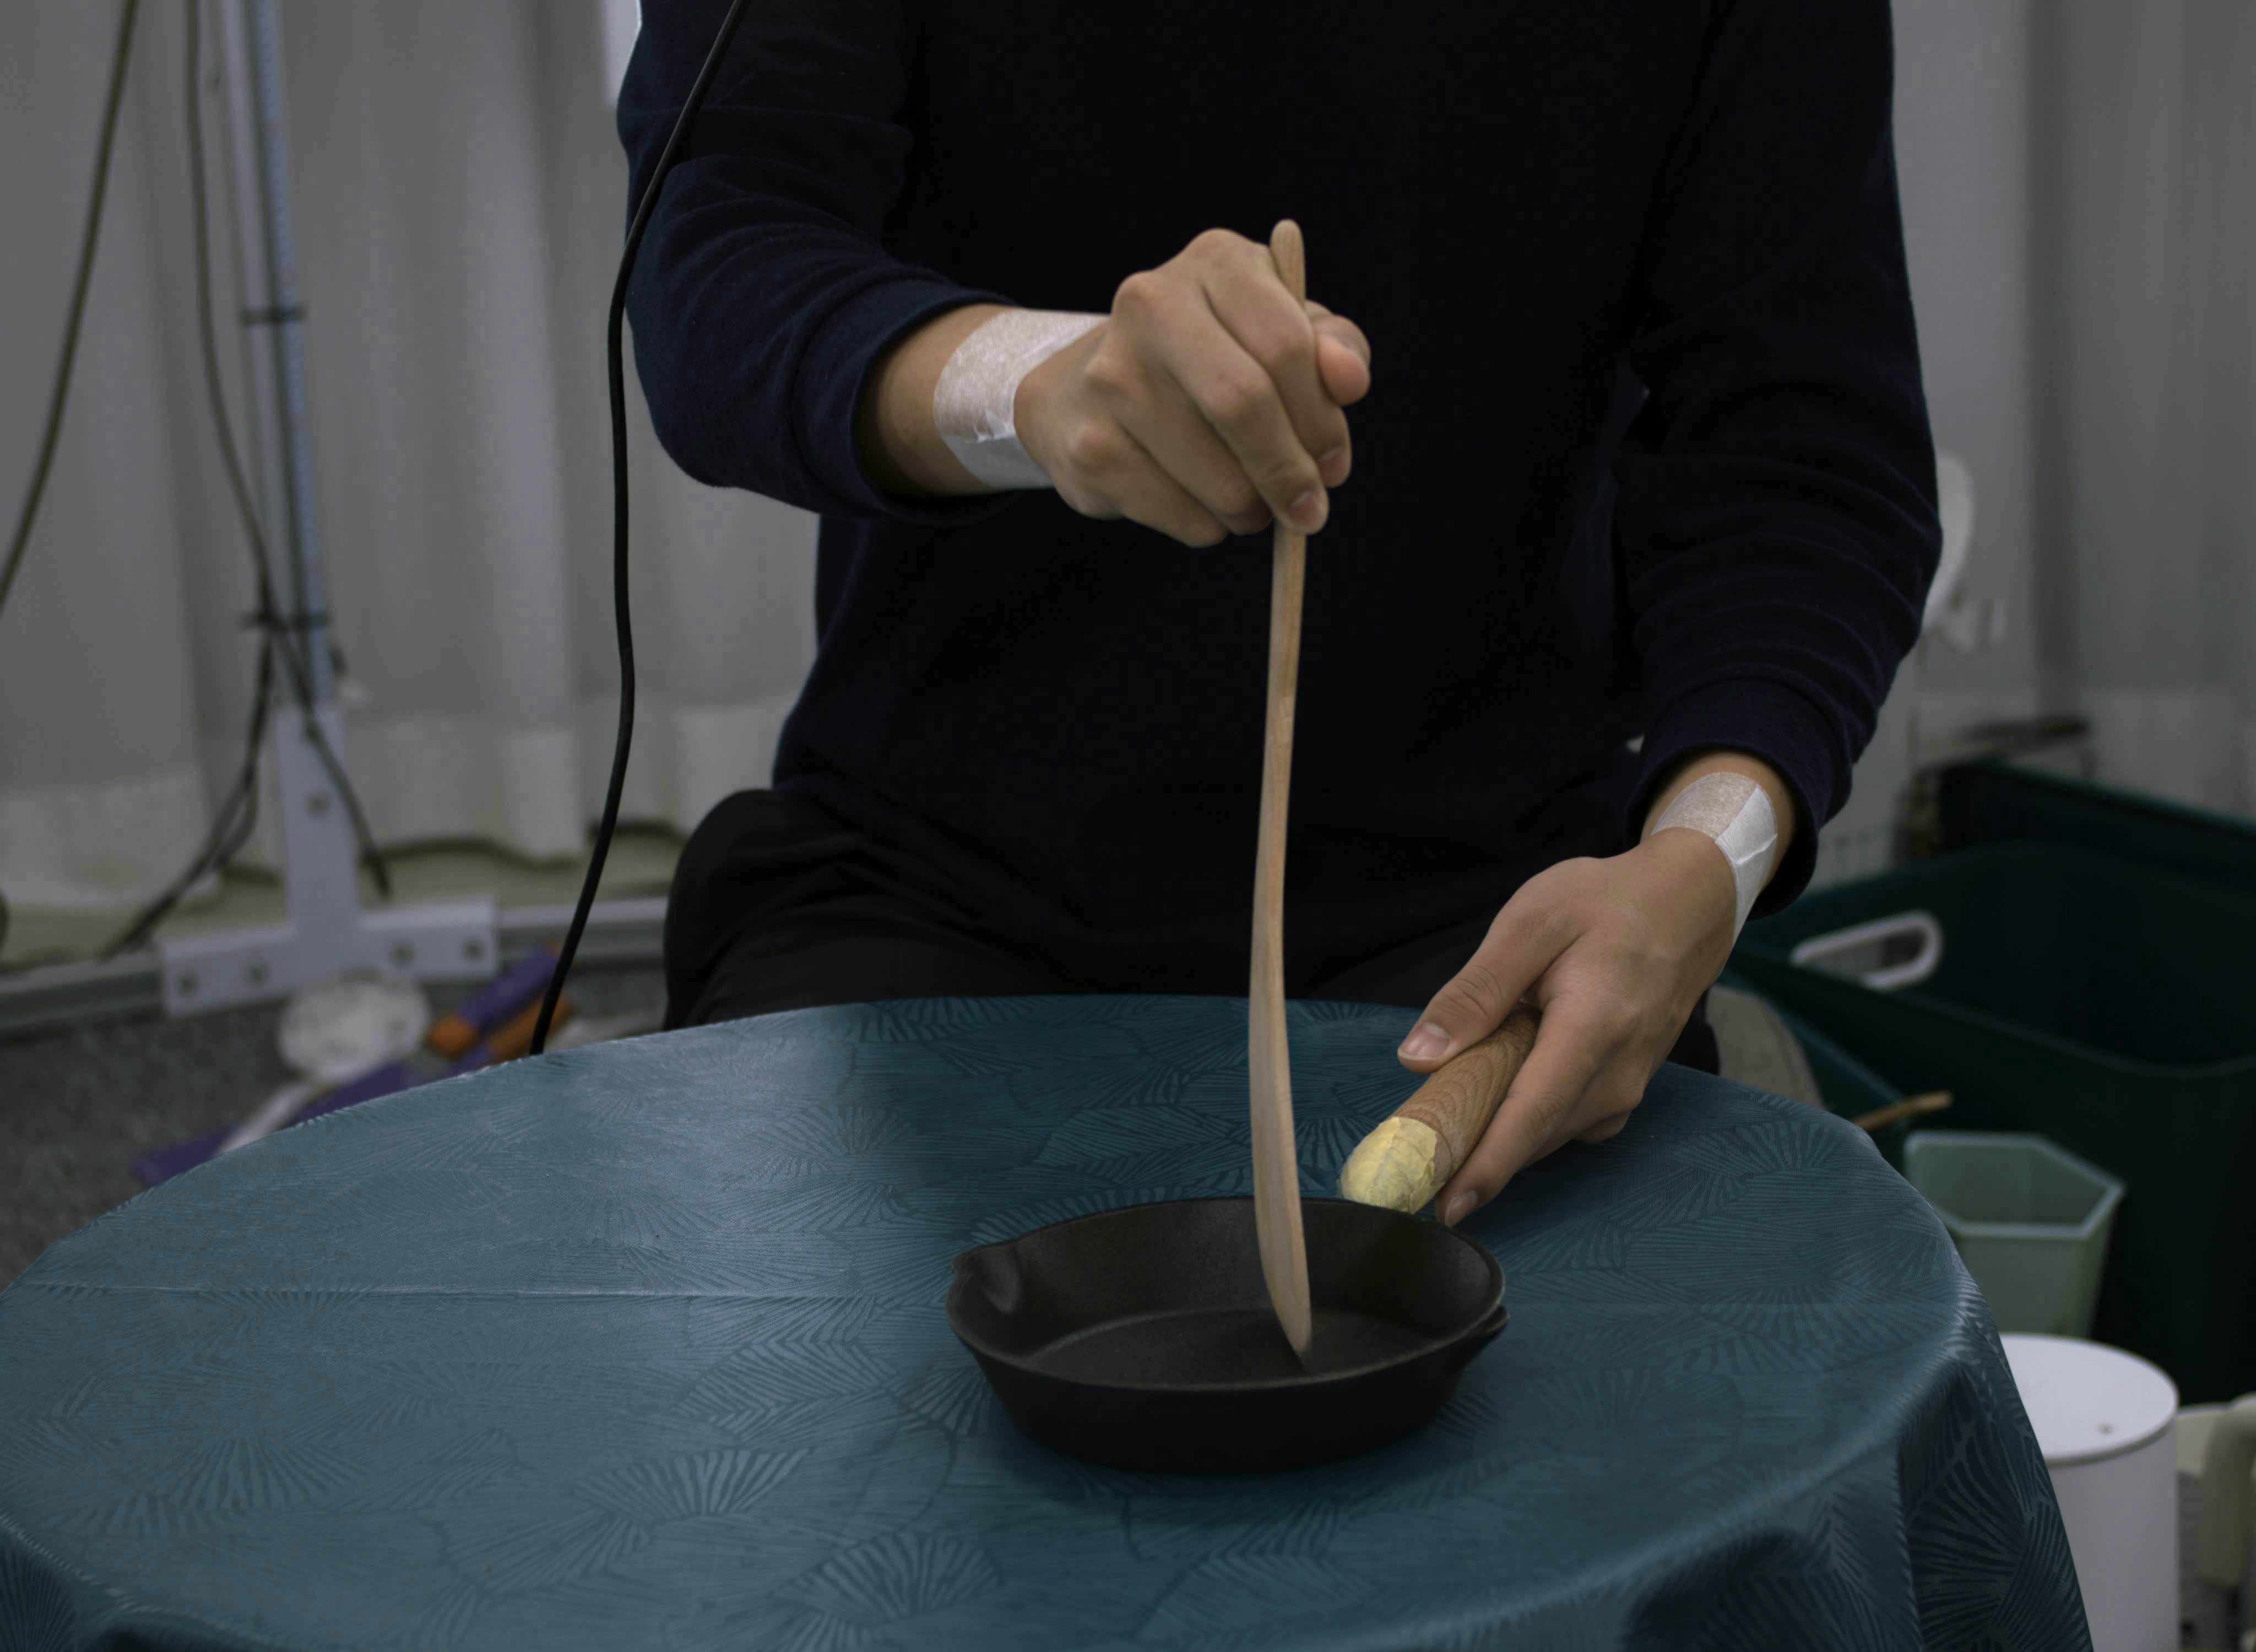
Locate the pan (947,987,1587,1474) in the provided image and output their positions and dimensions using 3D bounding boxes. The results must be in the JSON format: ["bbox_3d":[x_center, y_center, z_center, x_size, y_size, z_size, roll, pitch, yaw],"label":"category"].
[{"bbox_3d":[0.067,0.115,1.604,0.169,0.049,0.325,5,18,28],"label":"pan"}]

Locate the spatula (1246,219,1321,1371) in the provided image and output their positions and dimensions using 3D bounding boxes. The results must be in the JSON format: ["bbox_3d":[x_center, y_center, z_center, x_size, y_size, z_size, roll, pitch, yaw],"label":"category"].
[{"bbox_3d":[0.046,-0.005,1.537,0.016,0.327,0.080,1,6,-9],"label":"spatula"}]
